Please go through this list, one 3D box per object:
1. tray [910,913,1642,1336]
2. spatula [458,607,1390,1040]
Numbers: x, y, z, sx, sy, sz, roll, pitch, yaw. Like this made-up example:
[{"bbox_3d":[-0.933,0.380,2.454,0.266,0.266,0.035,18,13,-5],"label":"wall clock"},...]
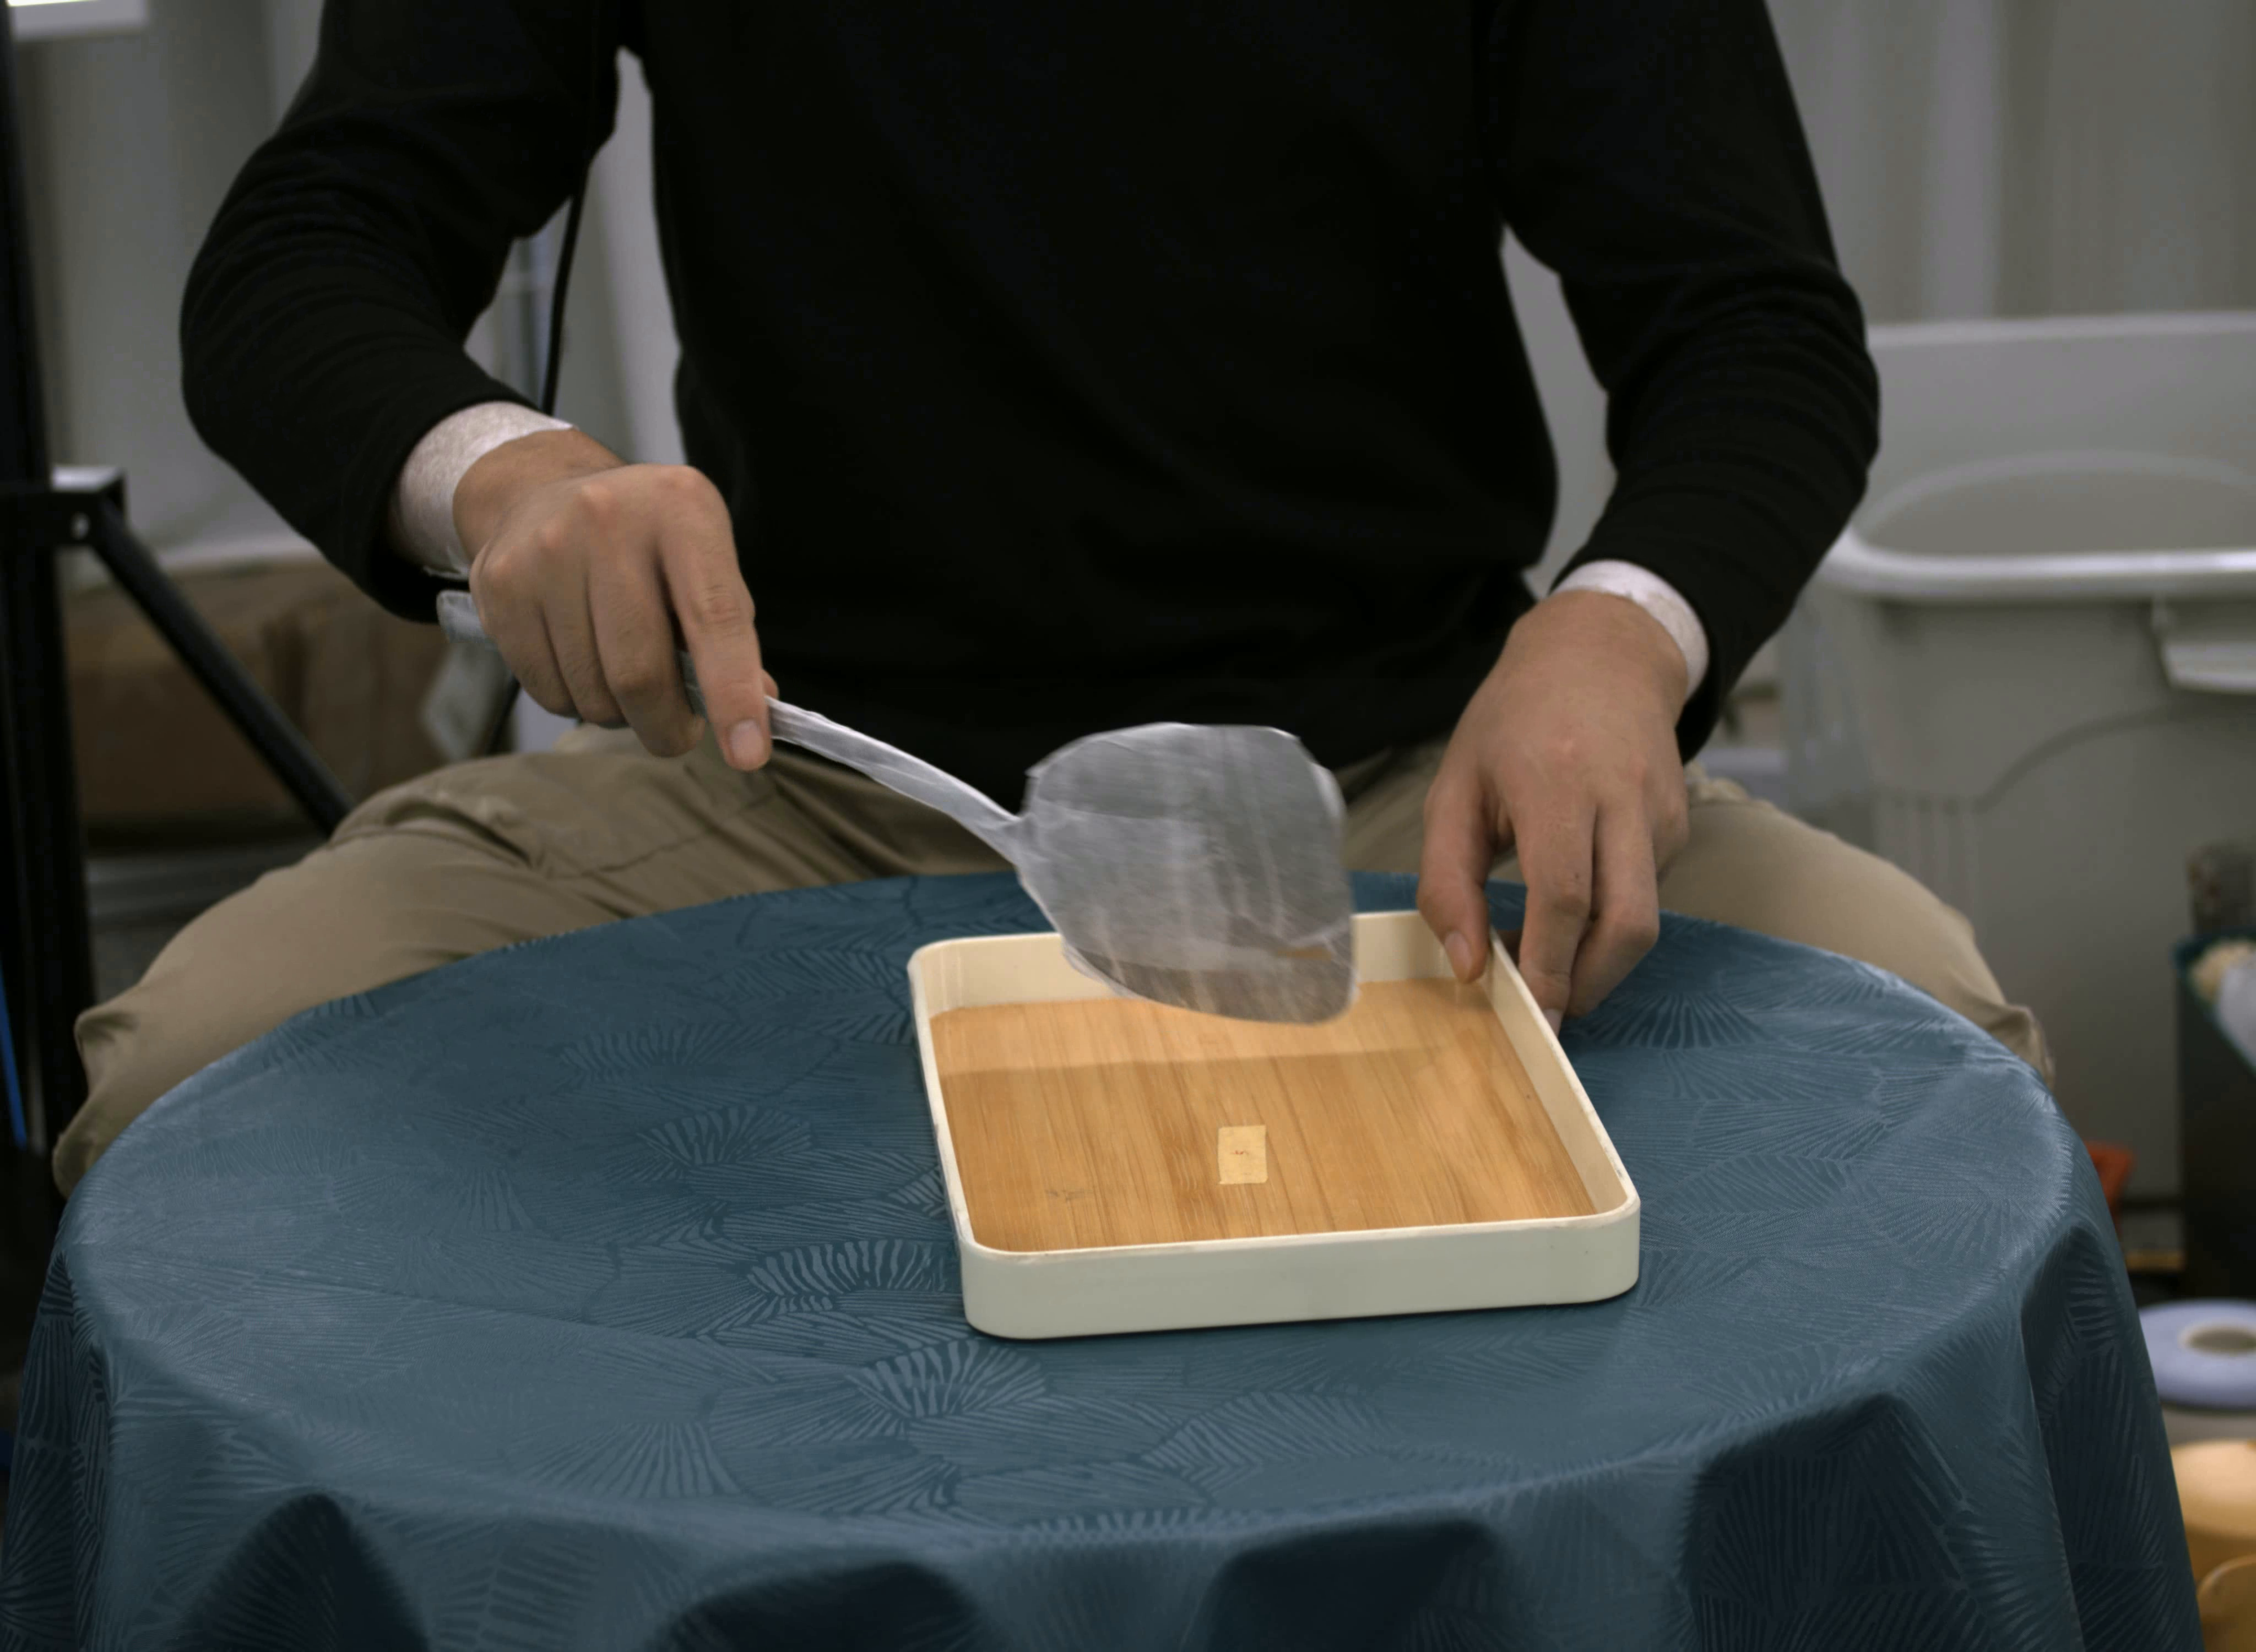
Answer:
[{"bbox_3d":[0.037,0.085,1.585,0.190,0.027,0.302,-4,16,-3],"label":"tray"},{"bbox_3d":[-0.071,-0.021,1.586,0.044,0.098,0.373,-29,35,-35],"label":"spatula"}]
